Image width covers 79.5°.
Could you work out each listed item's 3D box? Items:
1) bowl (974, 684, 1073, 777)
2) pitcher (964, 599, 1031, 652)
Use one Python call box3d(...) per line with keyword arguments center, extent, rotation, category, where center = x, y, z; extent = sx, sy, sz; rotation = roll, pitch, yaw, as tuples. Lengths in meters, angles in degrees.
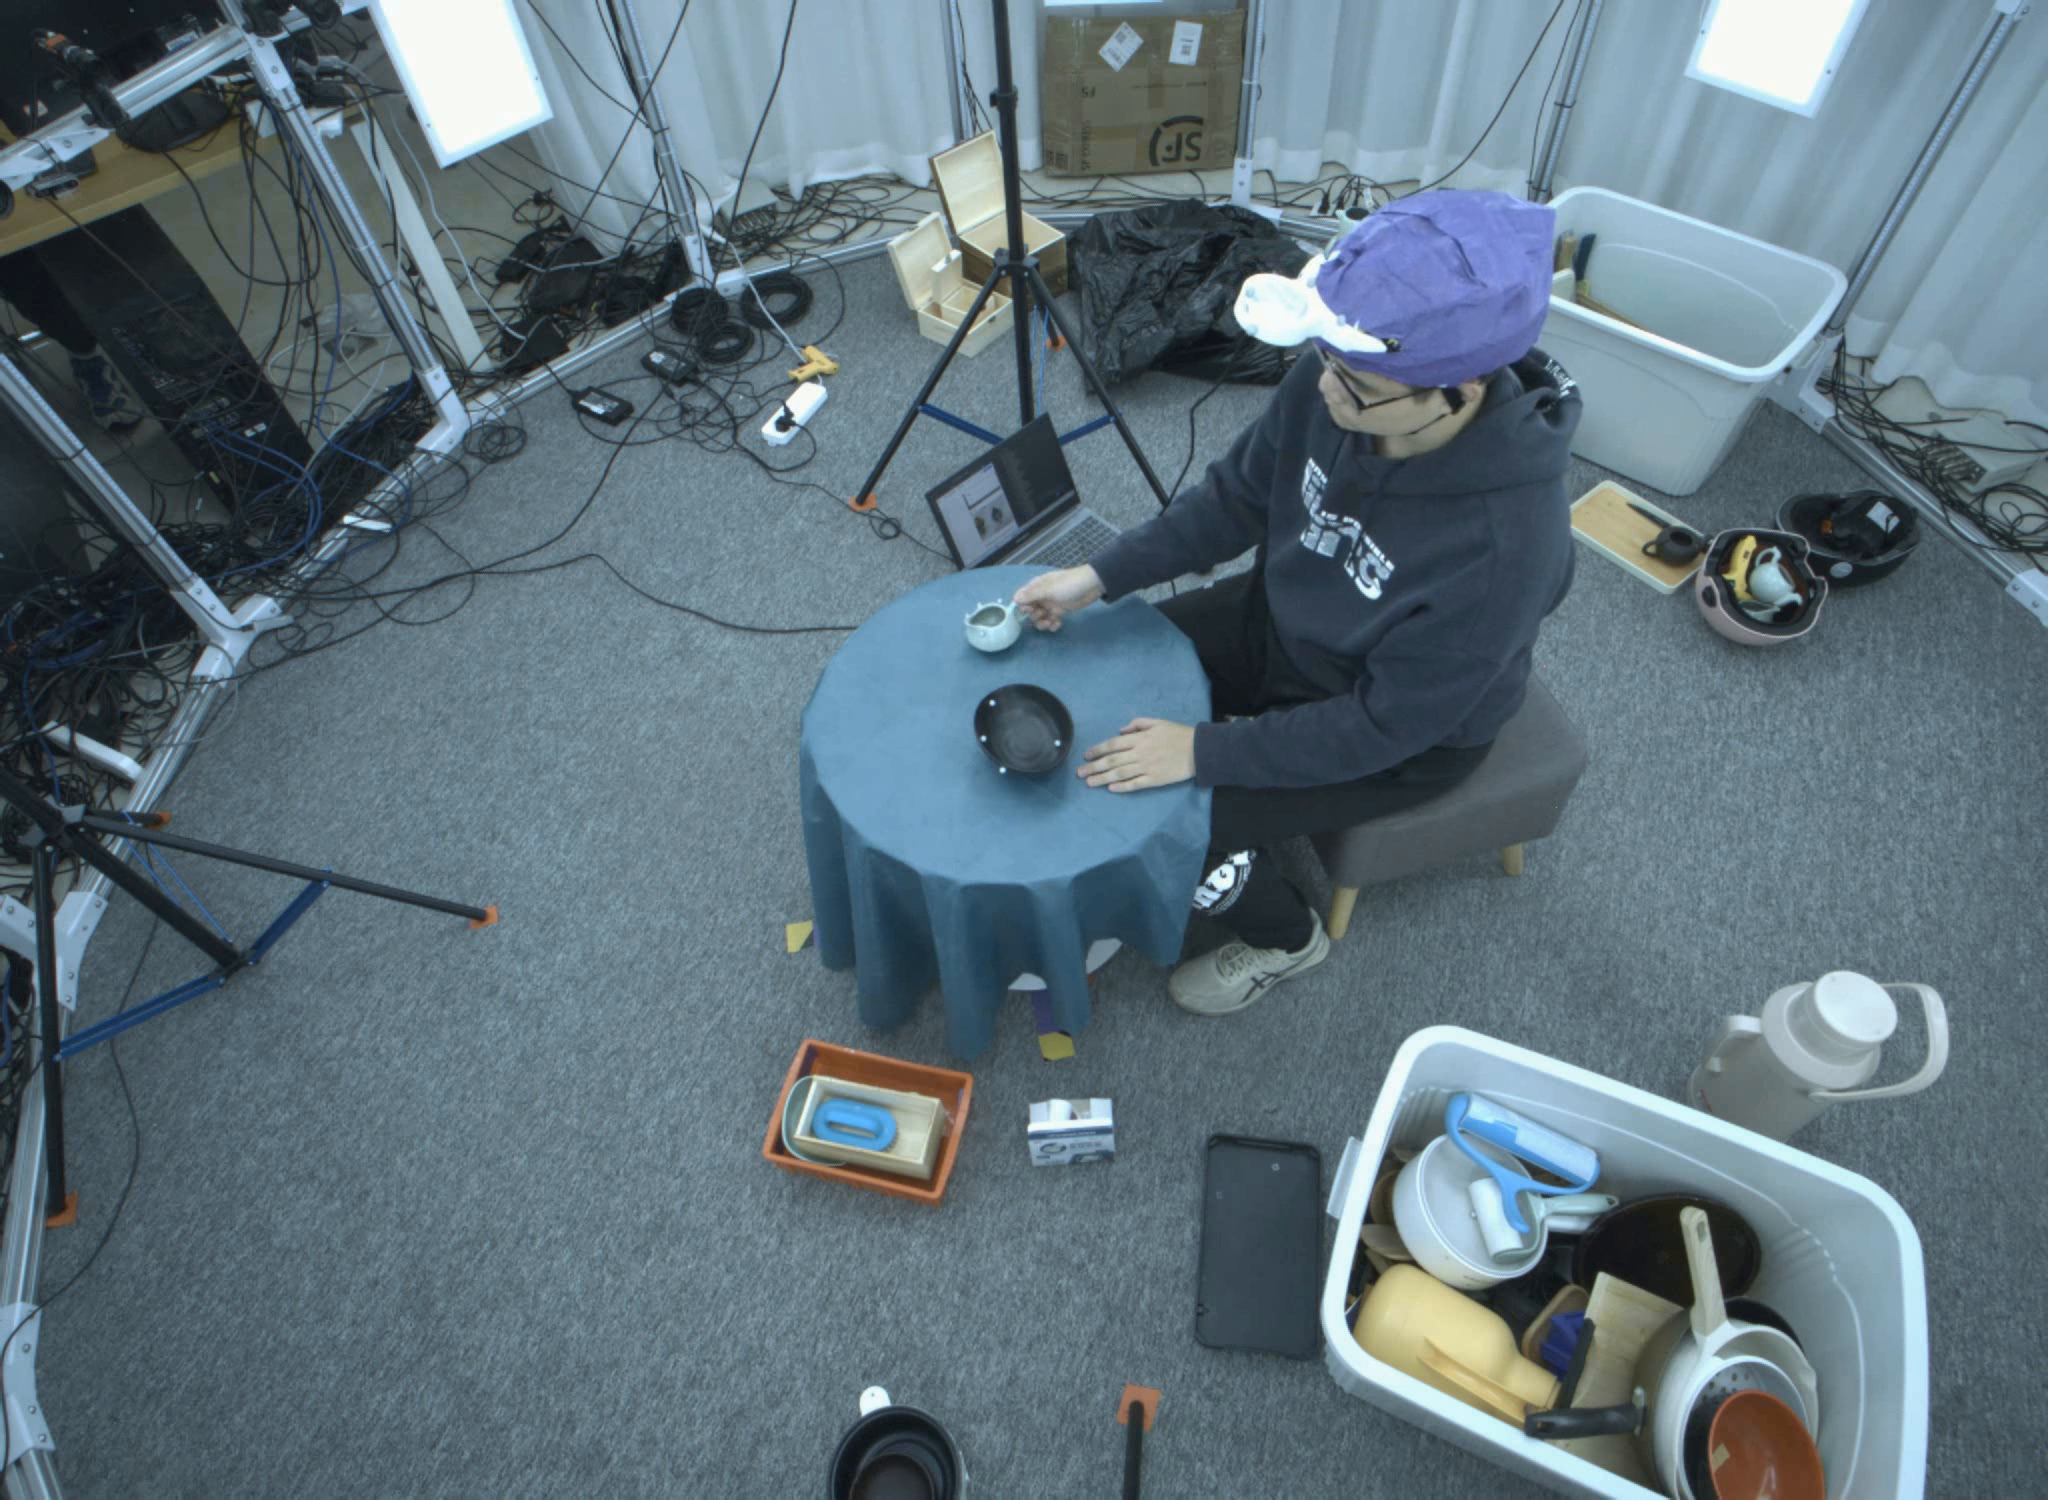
box3d(center=(-0.002, -0.019, 1.763), extent=(0.138, 0.067, 0.167), rotation=(-20, 56, -13), category="bowl")
box3d(center=(-0.040, -0.197, 1.890), extent=(0.108, 0.061, 0.084), rotation=(-22, 58, -10), category="pitcher")
